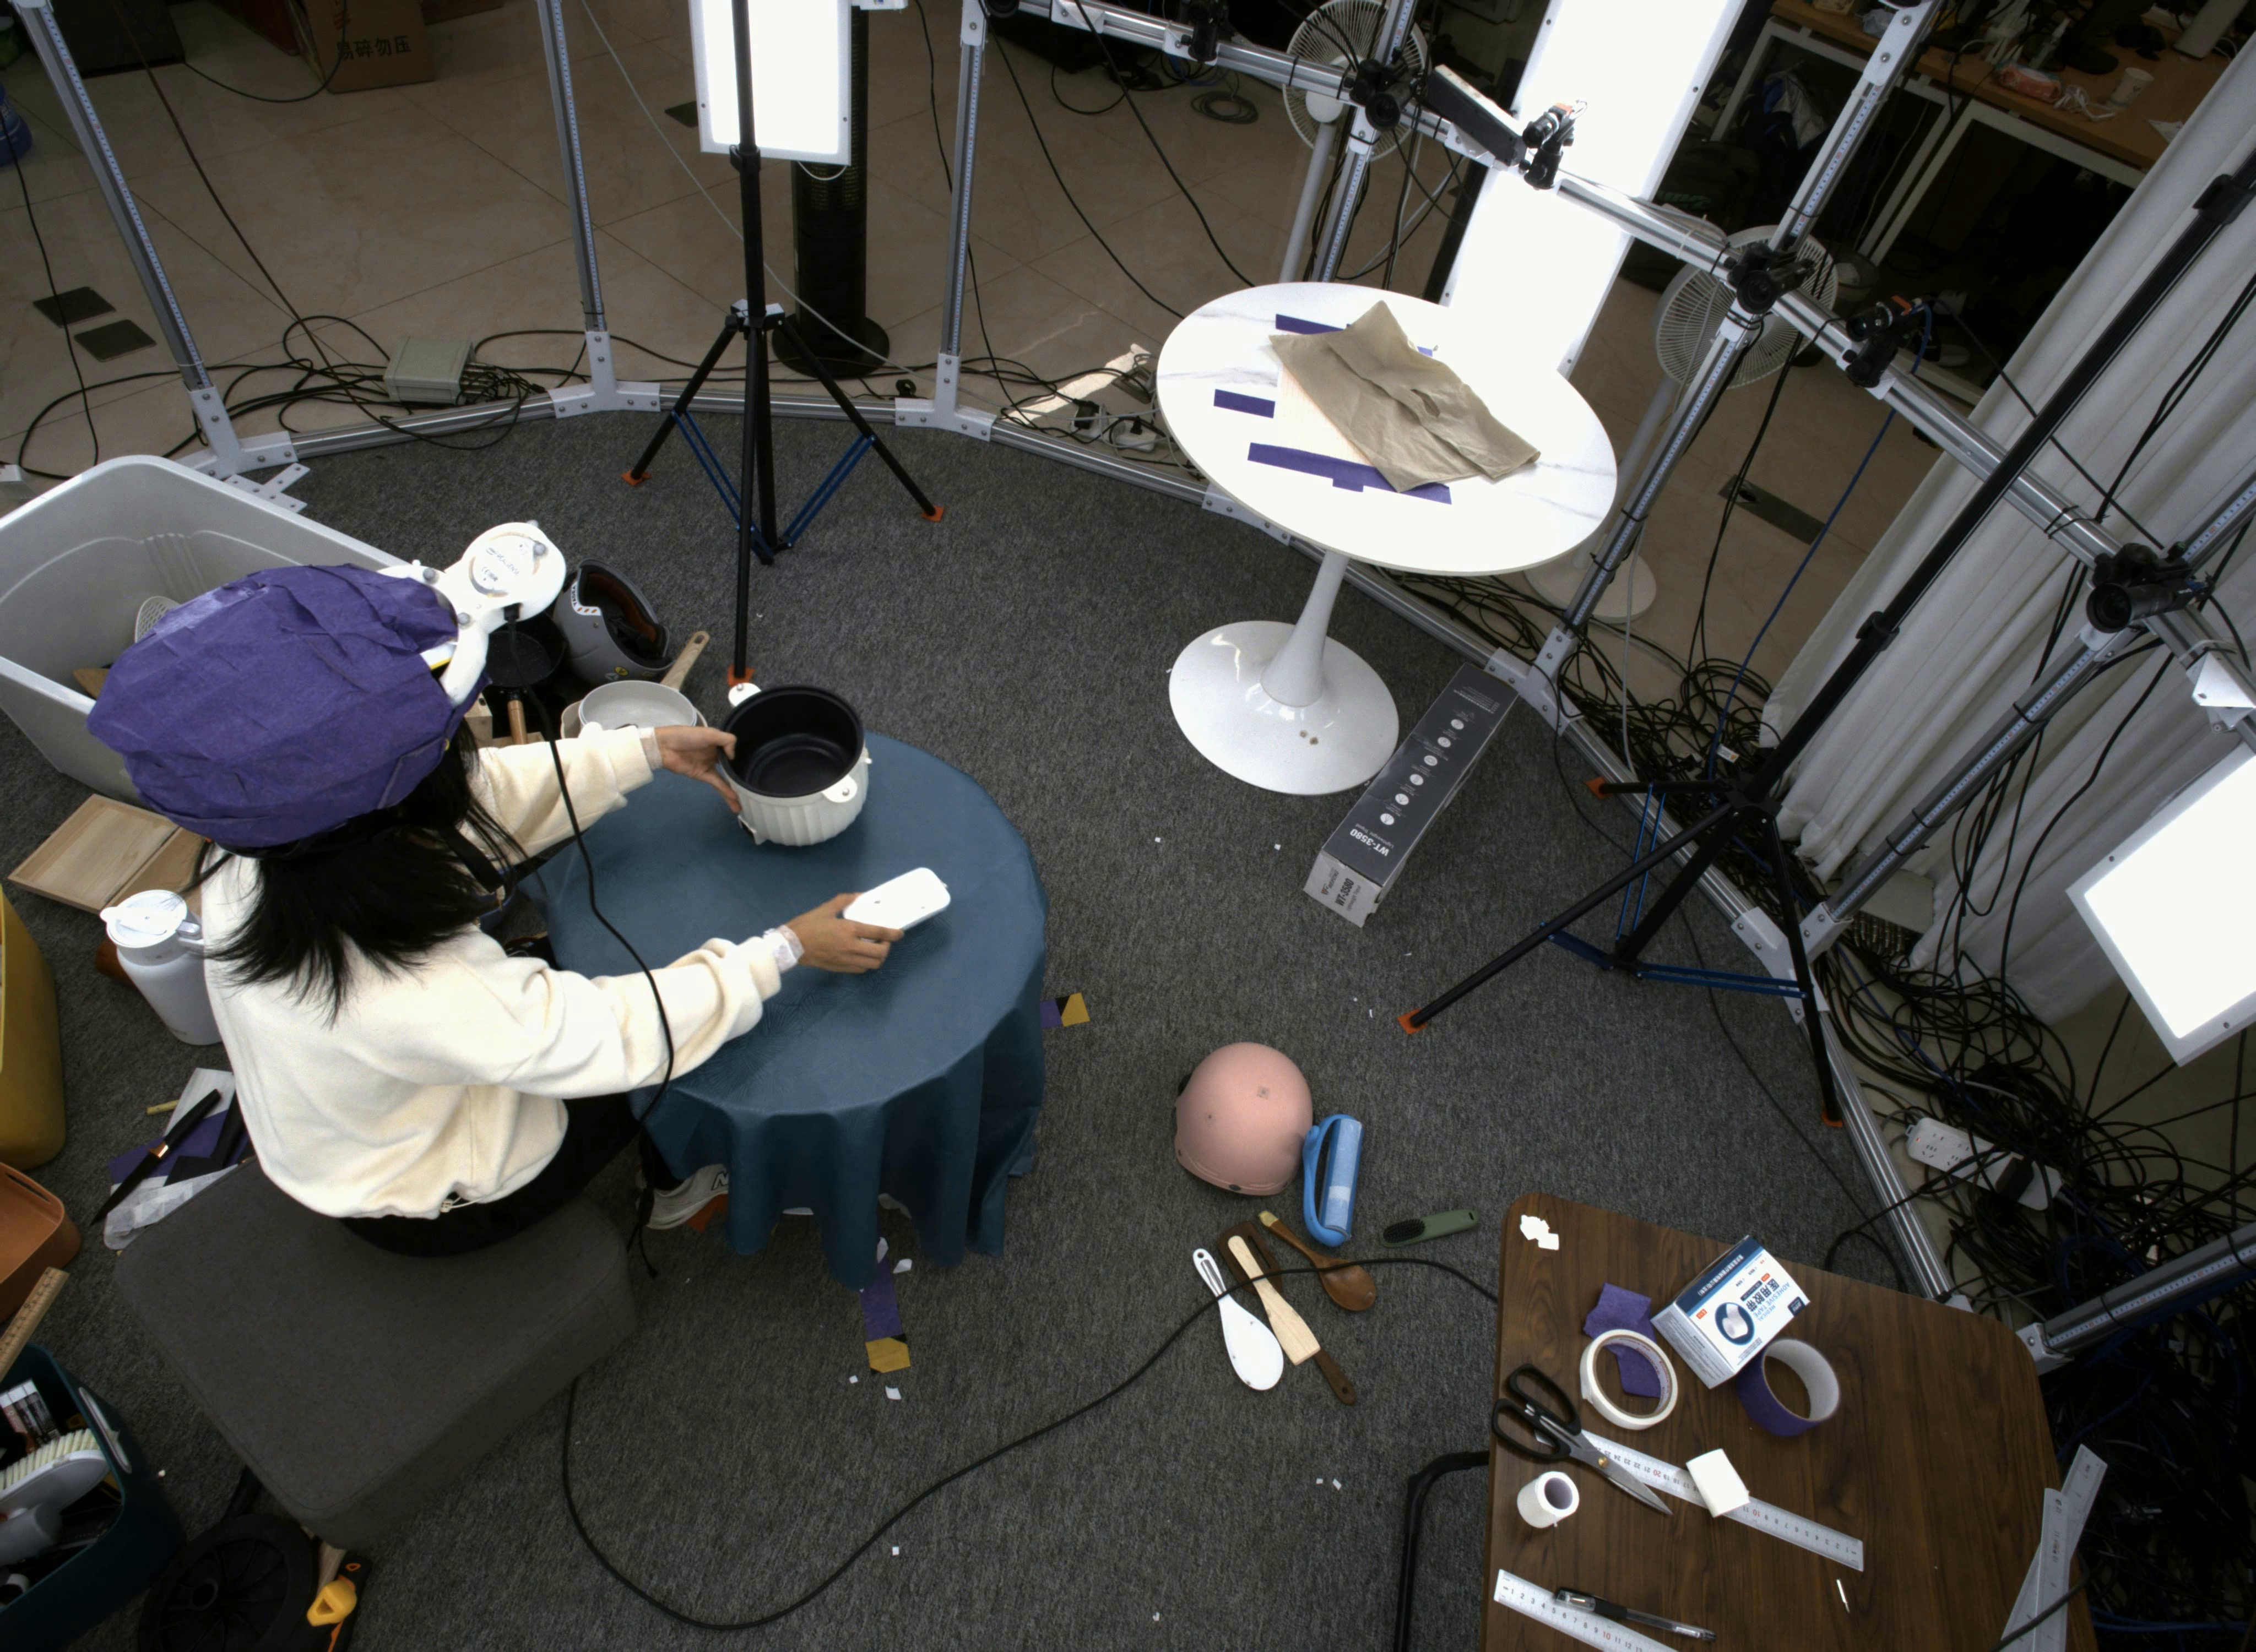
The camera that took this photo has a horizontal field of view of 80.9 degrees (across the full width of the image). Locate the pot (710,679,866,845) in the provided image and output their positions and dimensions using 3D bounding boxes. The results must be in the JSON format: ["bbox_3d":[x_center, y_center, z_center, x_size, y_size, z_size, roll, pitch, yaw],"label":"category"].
[{"bbox_3d":[-0.425,-0.078,1.659,0.235,0.146,0.190,40,64,18],"label":"pot"}]

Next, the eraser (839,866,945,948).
[{"bbox_3d":[-0.292,0.096,1.609,0.132,0.035,0.062,-29,71,-32],"label":"eraser"}]
